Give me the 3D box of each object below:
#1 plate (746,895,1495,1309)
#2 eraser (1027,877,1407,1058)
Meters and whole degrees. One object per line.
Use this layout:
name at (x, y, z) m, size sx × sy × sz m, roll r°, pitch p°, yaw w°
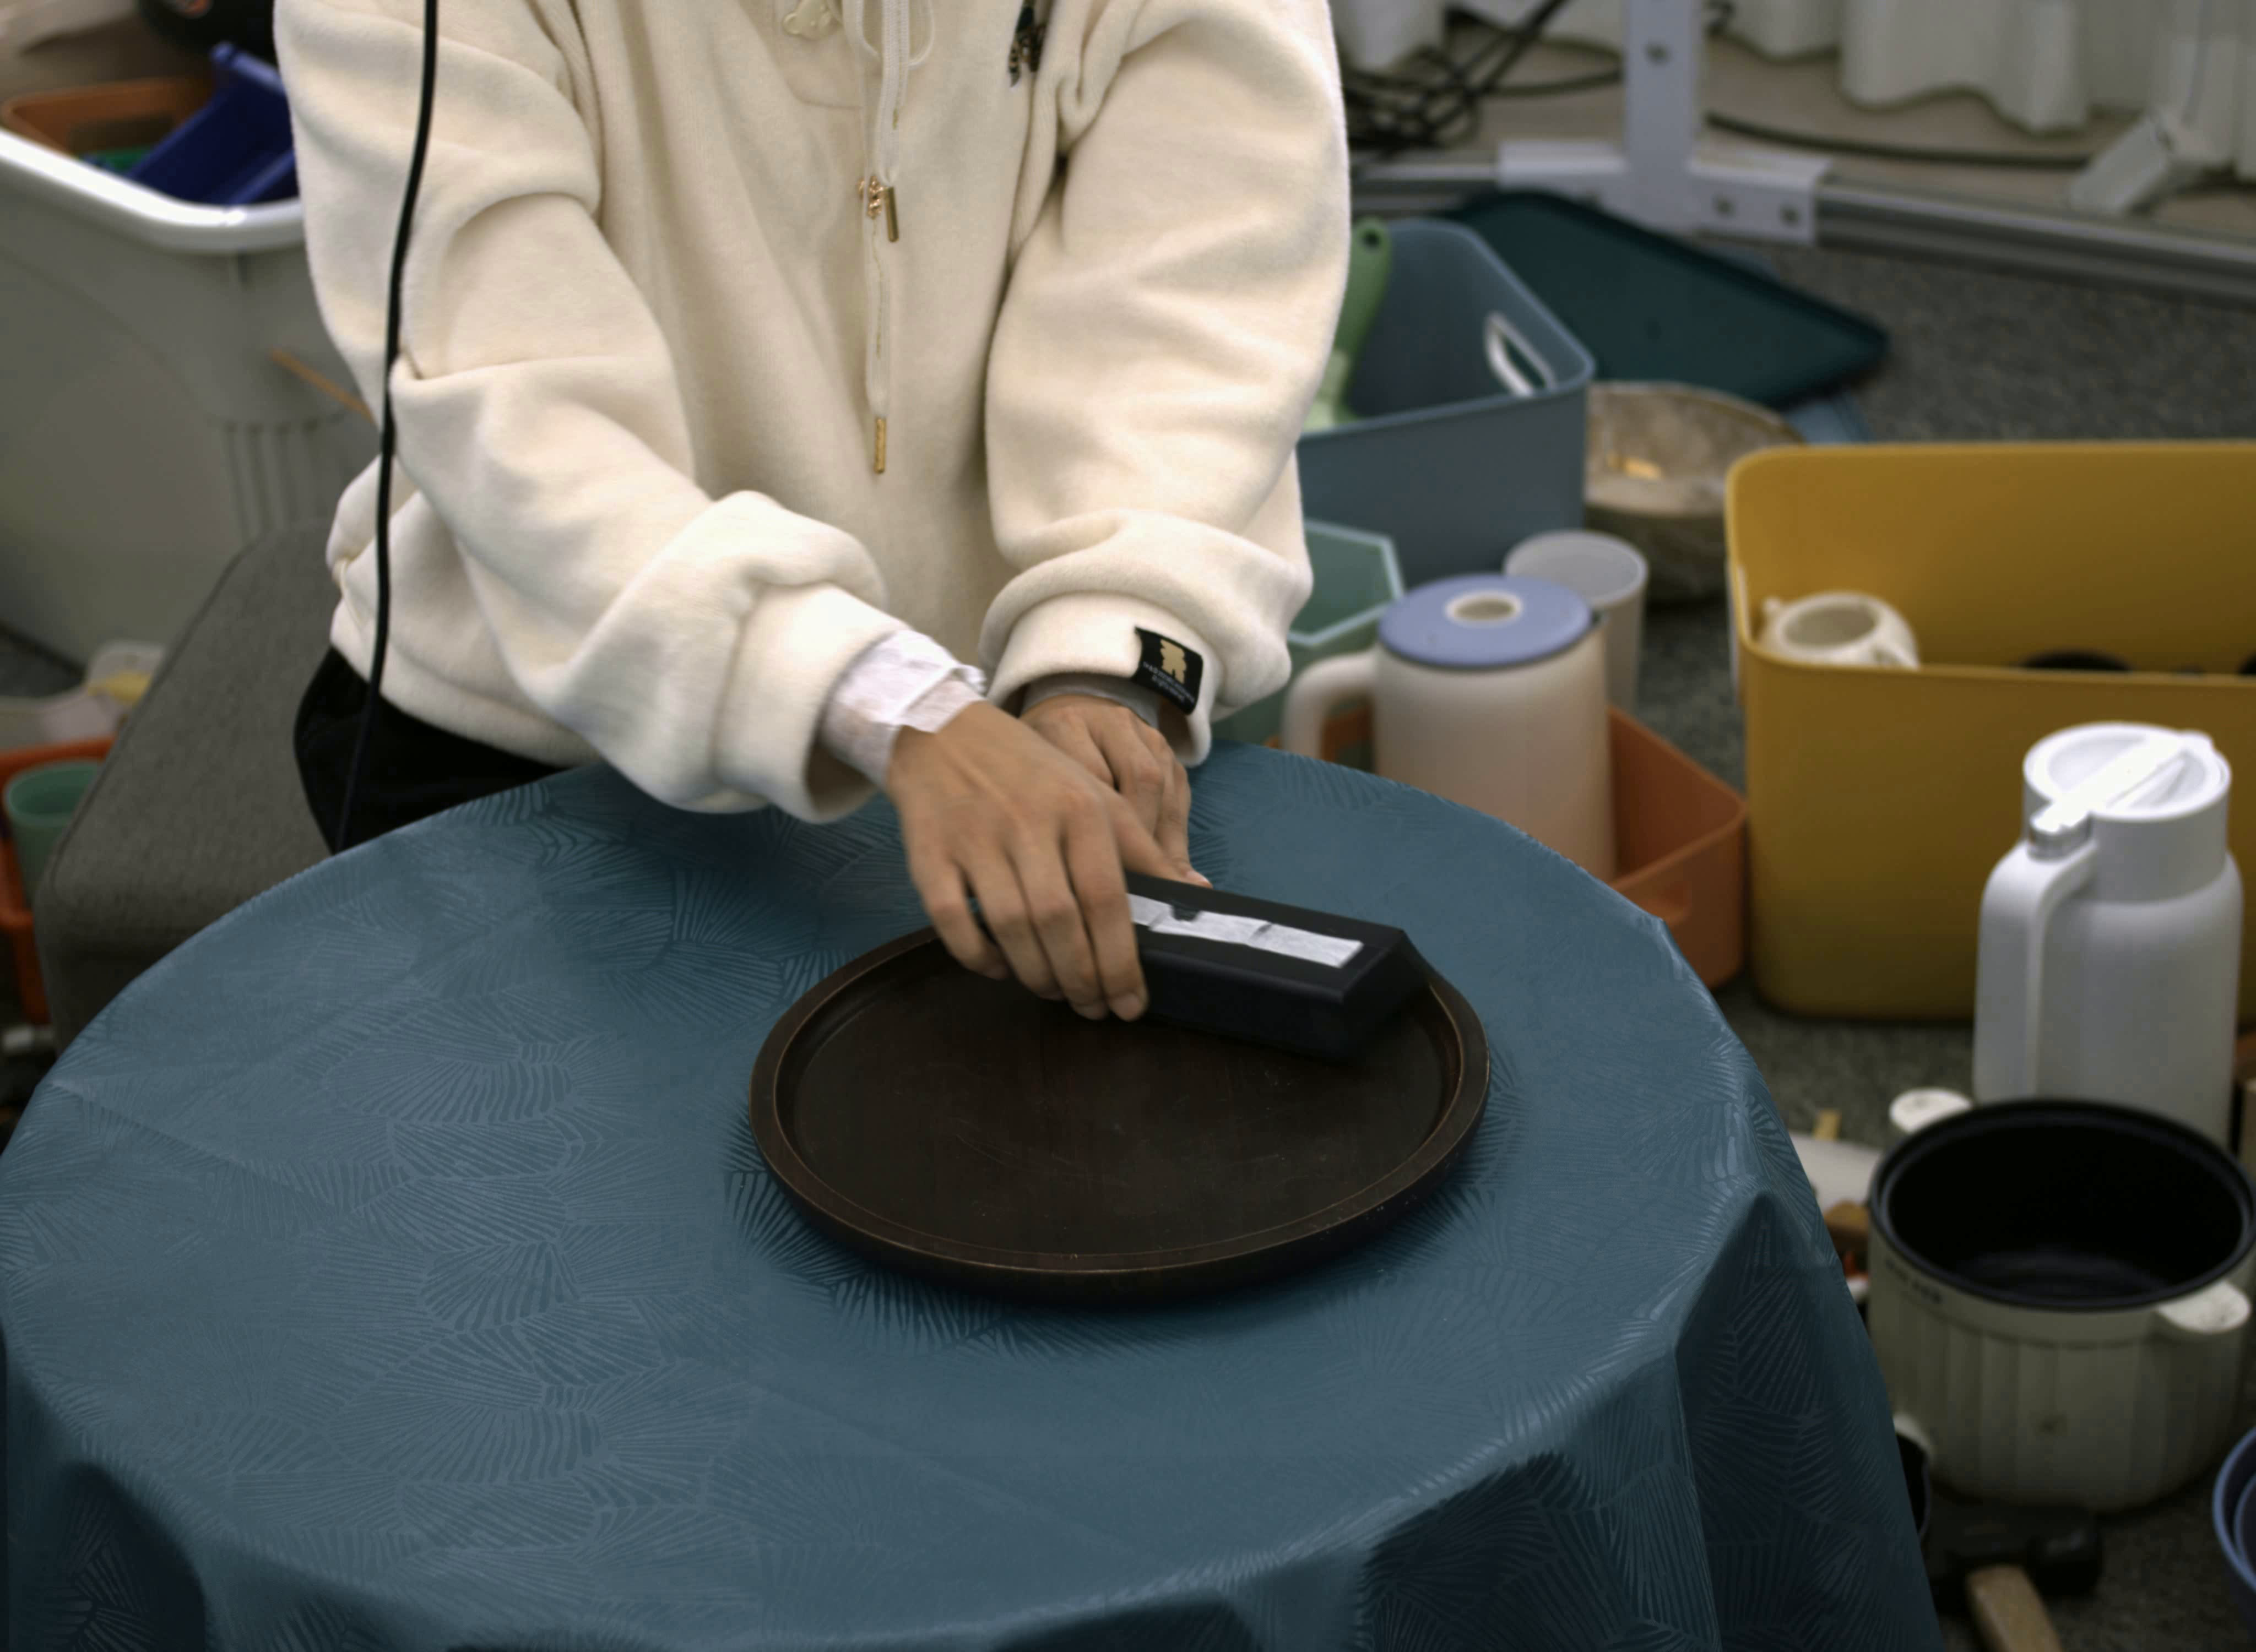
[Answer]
plate at (-0.002, 0.091, 1.895) m, size 0.253 × 0.029 × 0.259 m, roll -2°, pitch 29°, yaw 1°
eraser at (0.031, 0.048, 1.943) m, size 0.125 × 0.030 × 0.054 m, roll 10°, pitch 28°, yaw 25°
